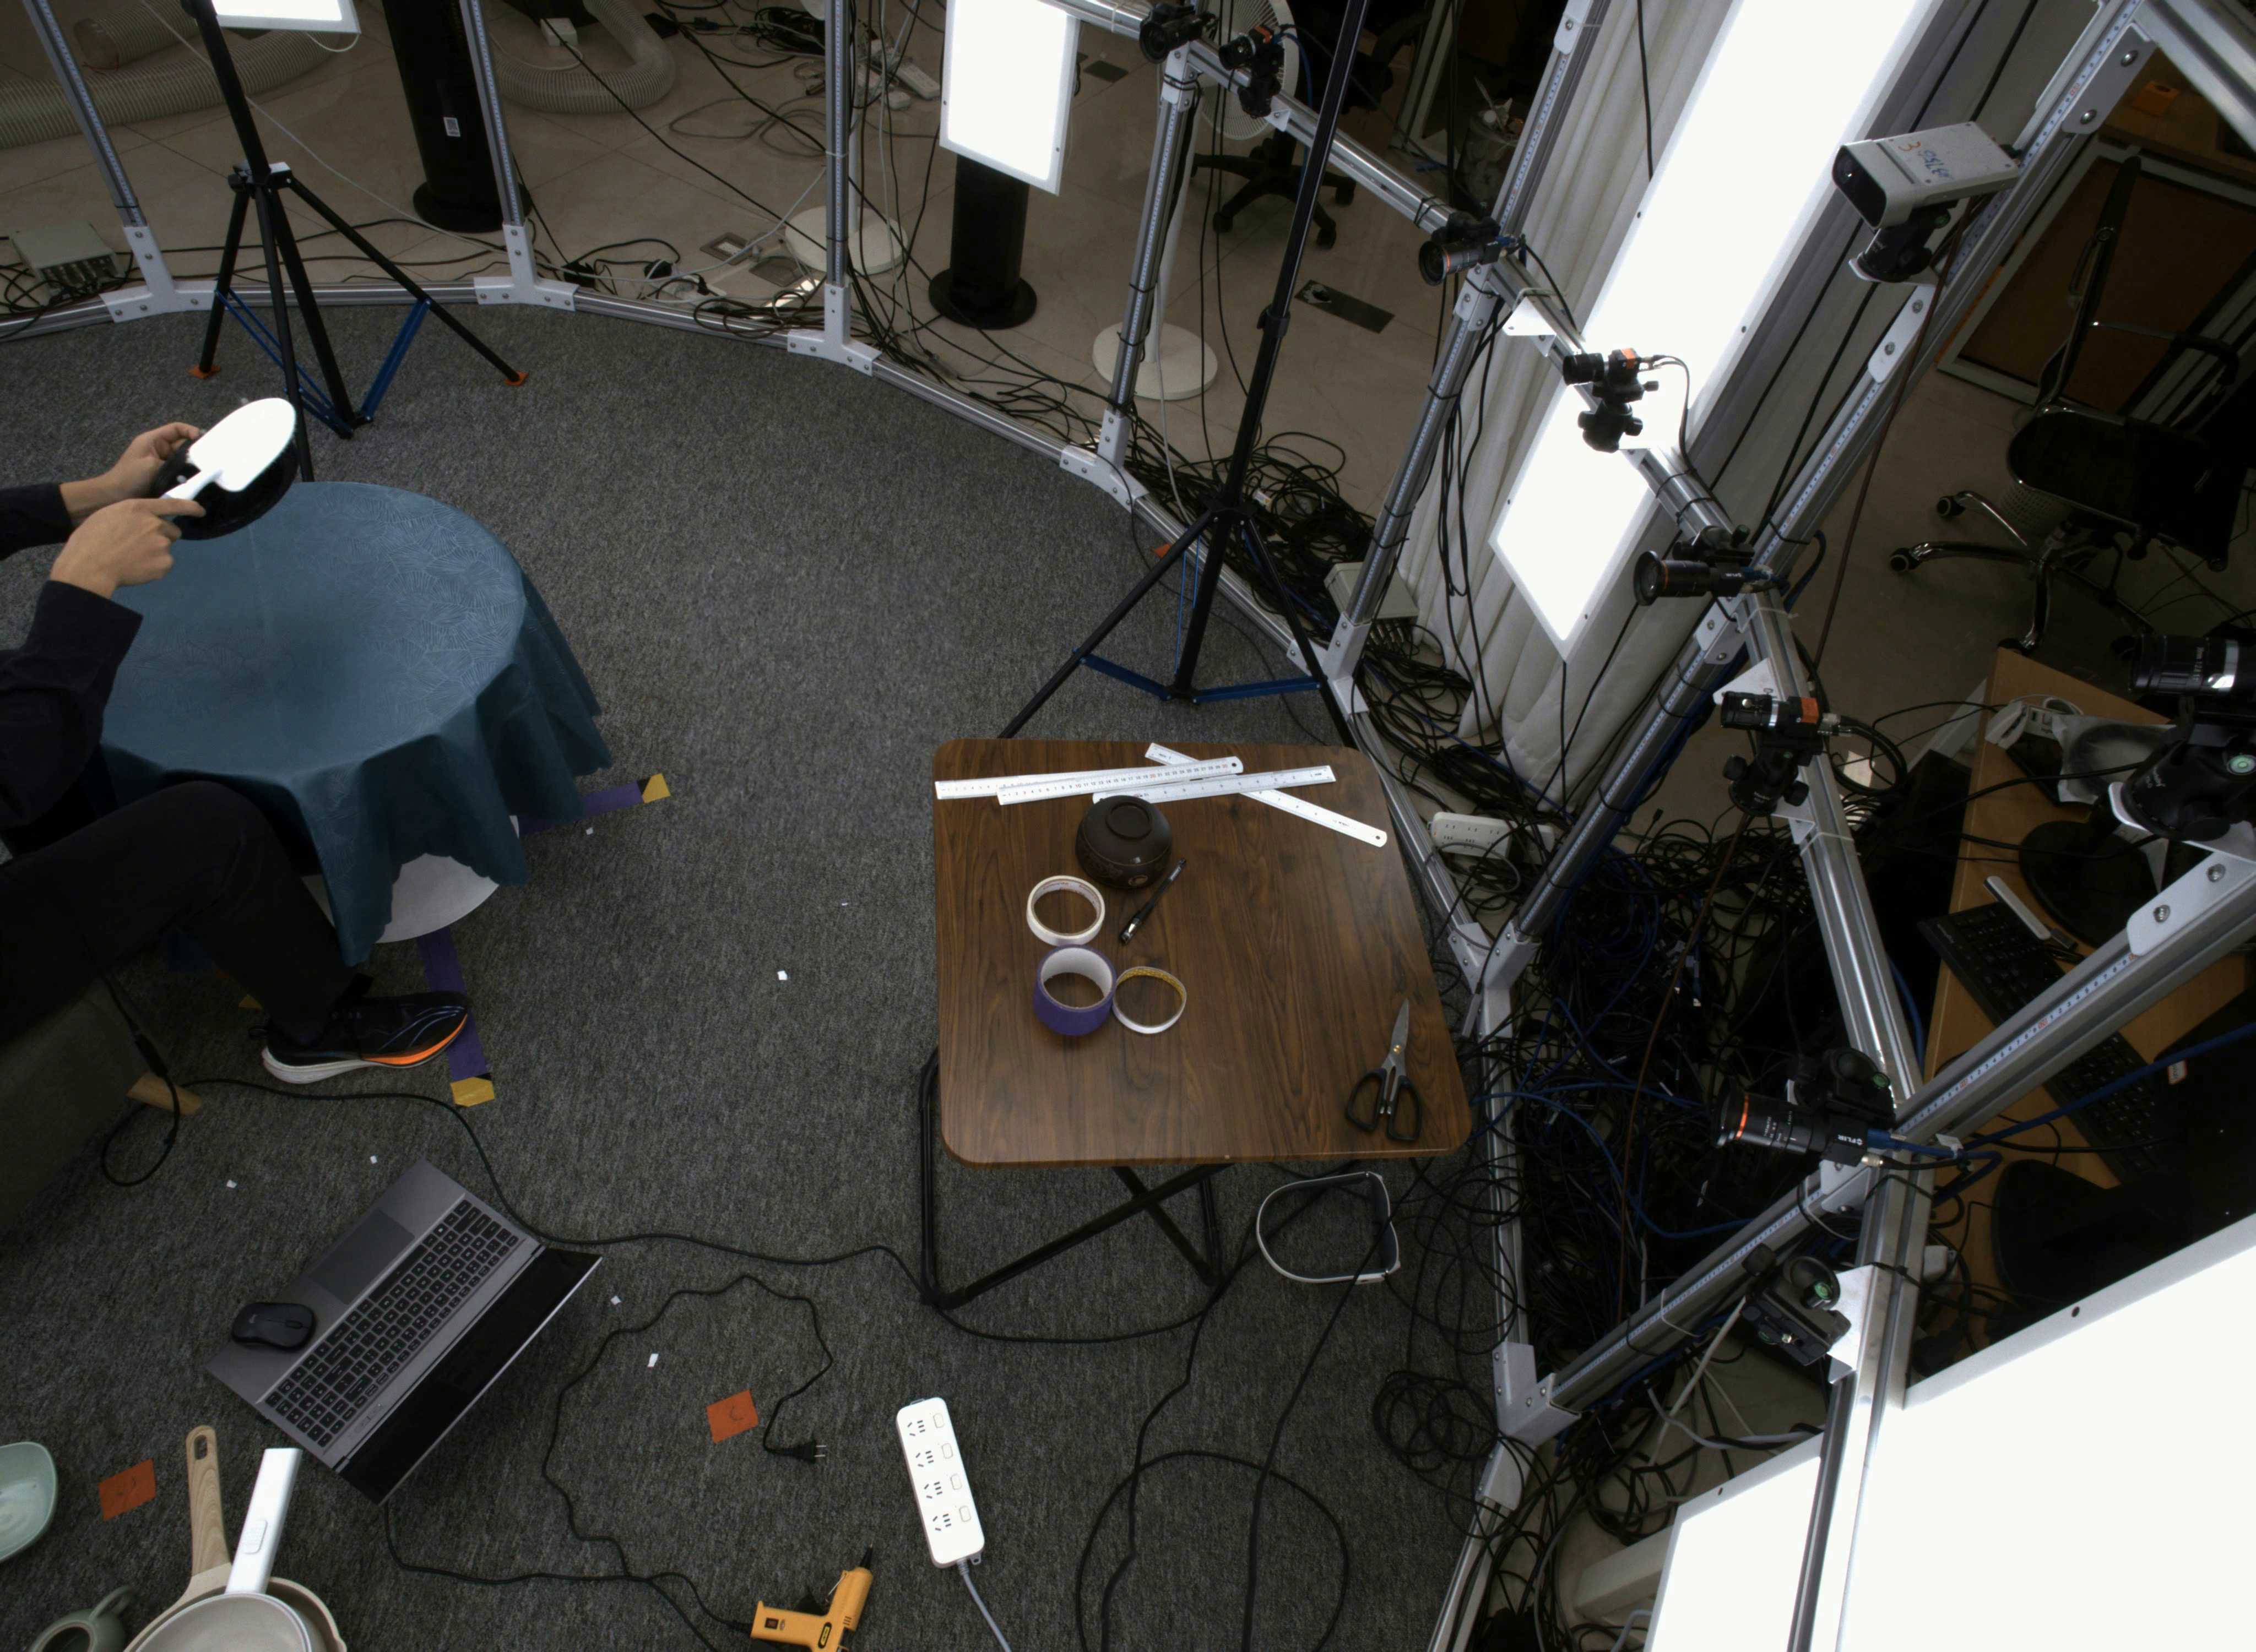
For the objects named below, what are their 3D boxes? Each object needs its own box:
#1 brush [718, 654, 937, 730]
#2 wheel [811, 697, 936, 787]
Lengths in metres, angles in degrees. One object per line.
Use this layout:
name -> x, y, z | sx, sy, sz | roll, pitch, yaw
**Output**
brush -> -0.420, -0.179, 1.821 | 0.327, 0.087, 0.080 | -19, 42, -27
wheel -> -0.391, -0.150, 1.977 | 0.193, 0.190, 0.077 | 3, 43, -31
